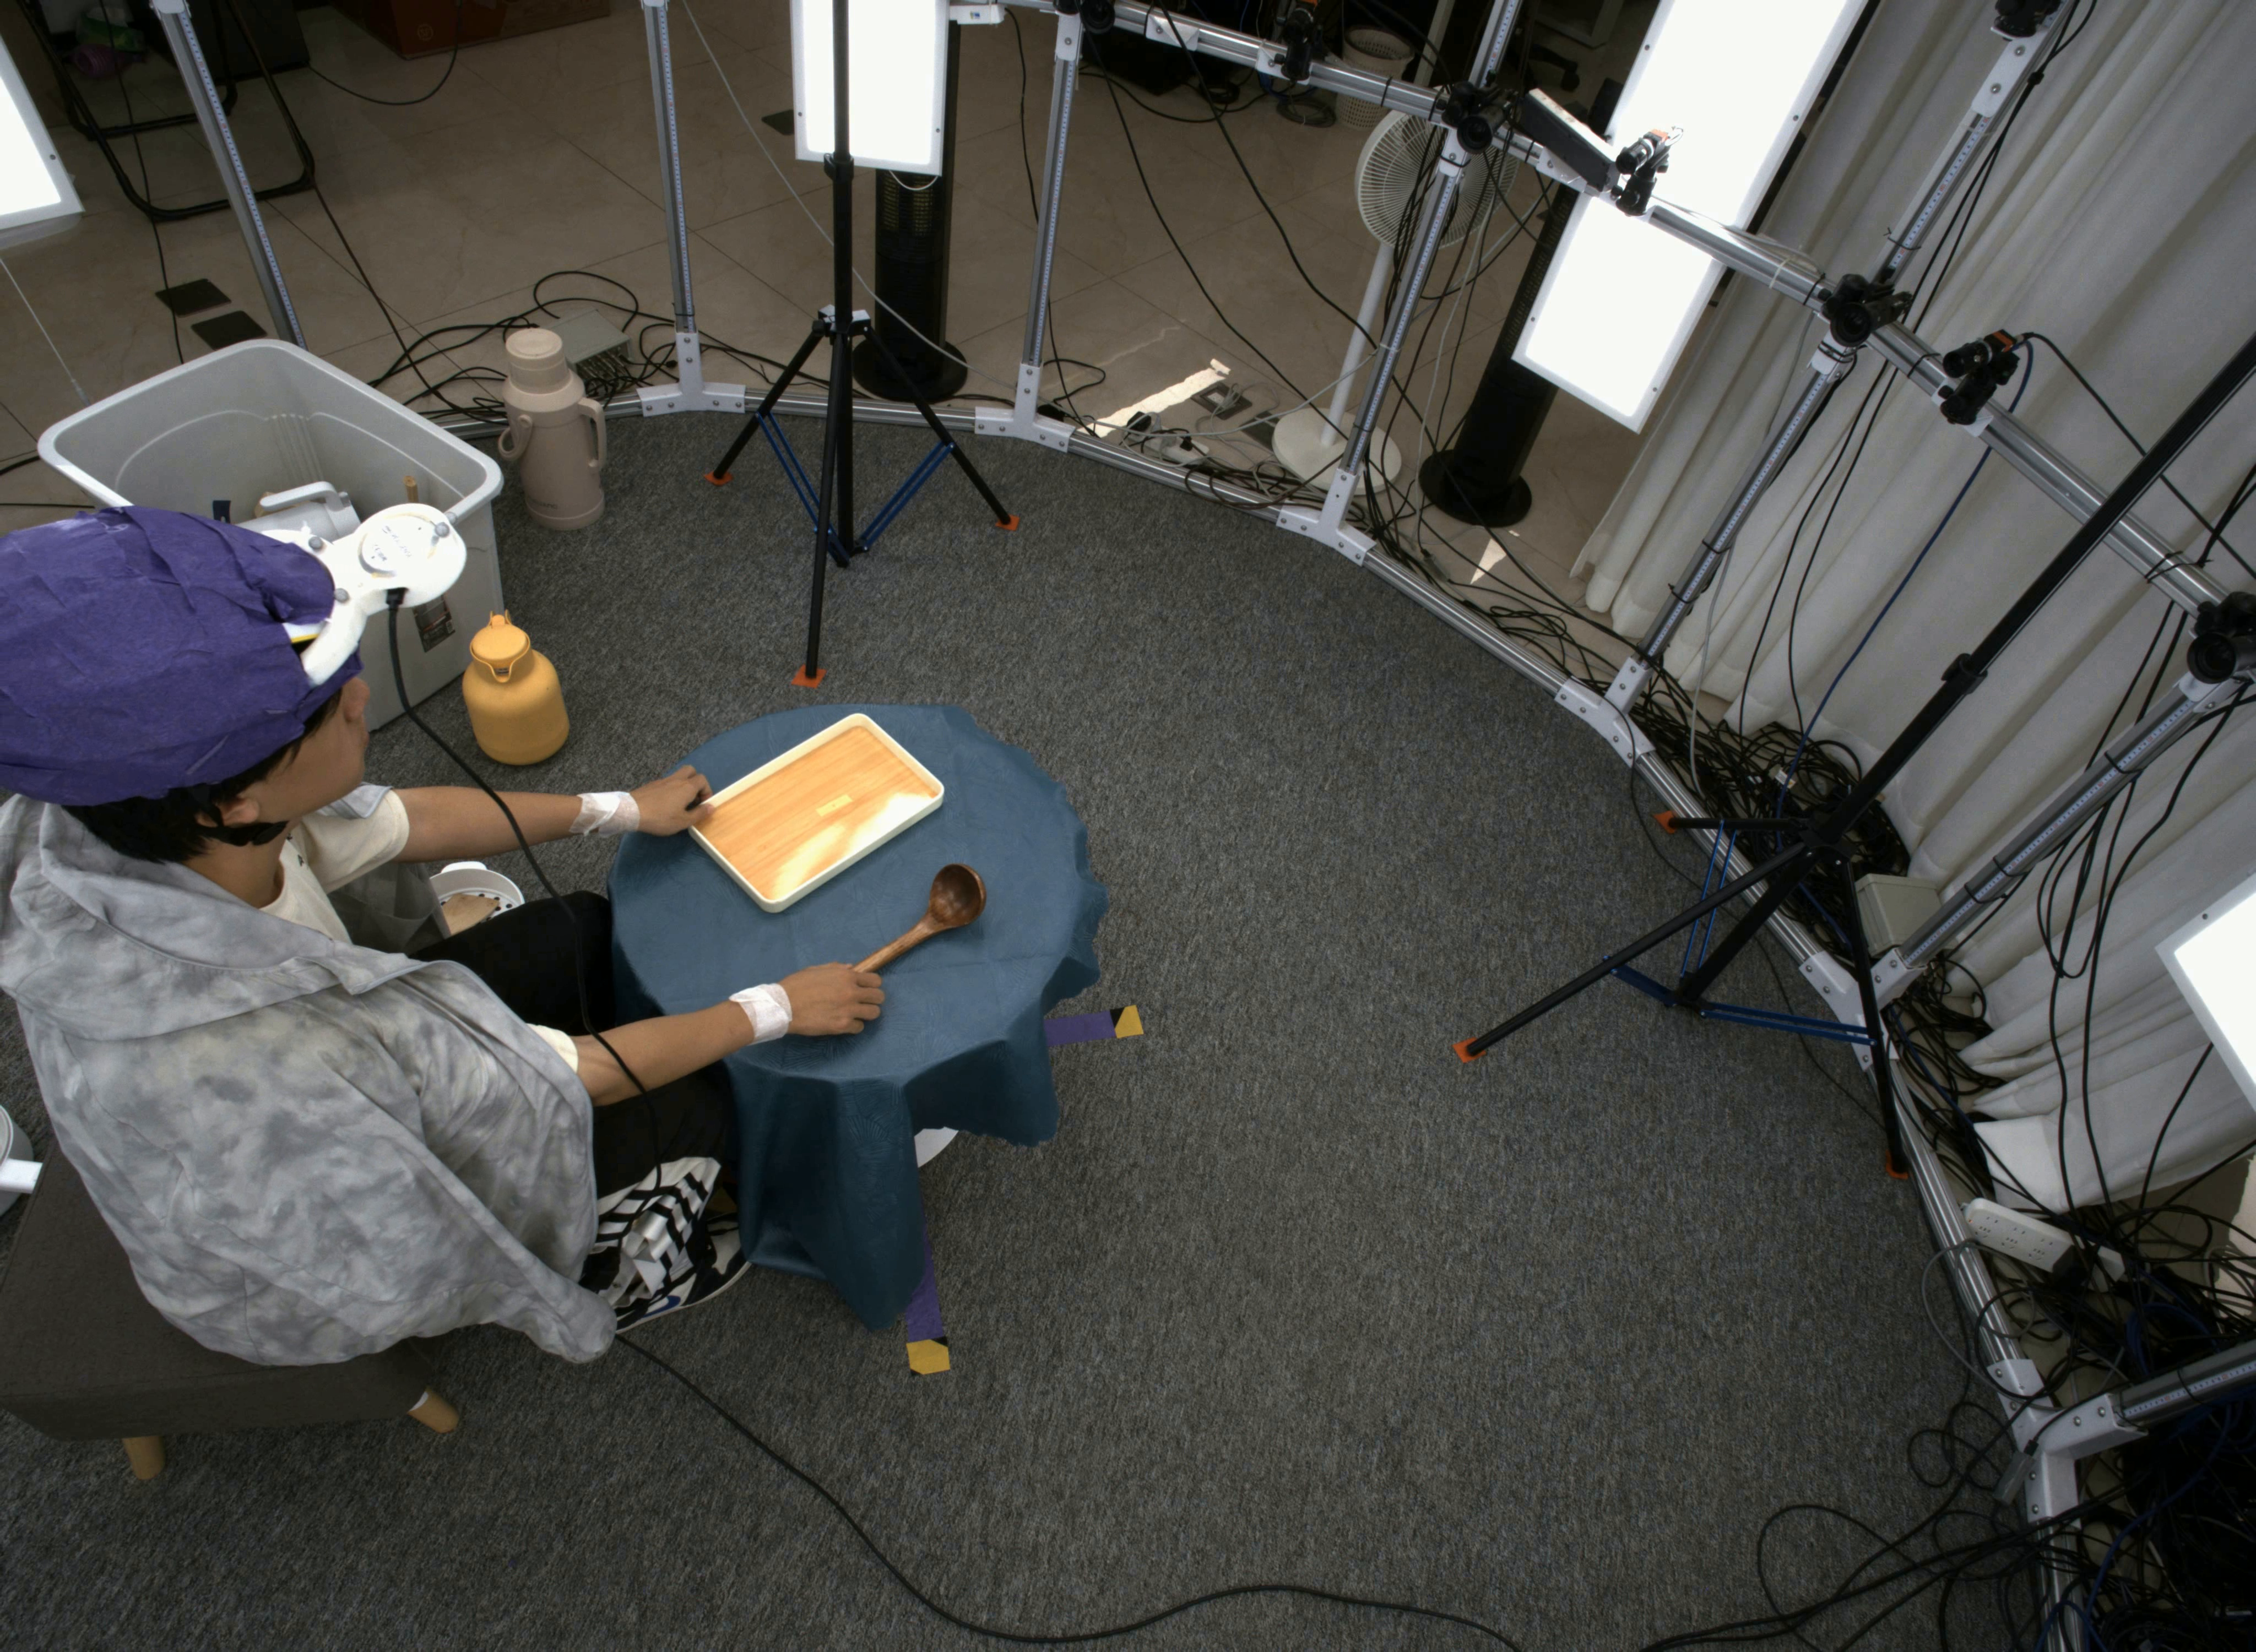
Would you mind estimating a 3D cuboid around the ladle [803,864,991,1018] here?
[{"bbox_3d":[-0.284,0.138,1.608,0.275,0.079,0.079,-33,59,-31],"label":"ladle"}]

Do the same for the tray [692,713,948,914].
[{"bbox_3d":[-0.407,-0.024,1.731,0.187,0.028,0.301,42,56,17],"label":"tray"}]
